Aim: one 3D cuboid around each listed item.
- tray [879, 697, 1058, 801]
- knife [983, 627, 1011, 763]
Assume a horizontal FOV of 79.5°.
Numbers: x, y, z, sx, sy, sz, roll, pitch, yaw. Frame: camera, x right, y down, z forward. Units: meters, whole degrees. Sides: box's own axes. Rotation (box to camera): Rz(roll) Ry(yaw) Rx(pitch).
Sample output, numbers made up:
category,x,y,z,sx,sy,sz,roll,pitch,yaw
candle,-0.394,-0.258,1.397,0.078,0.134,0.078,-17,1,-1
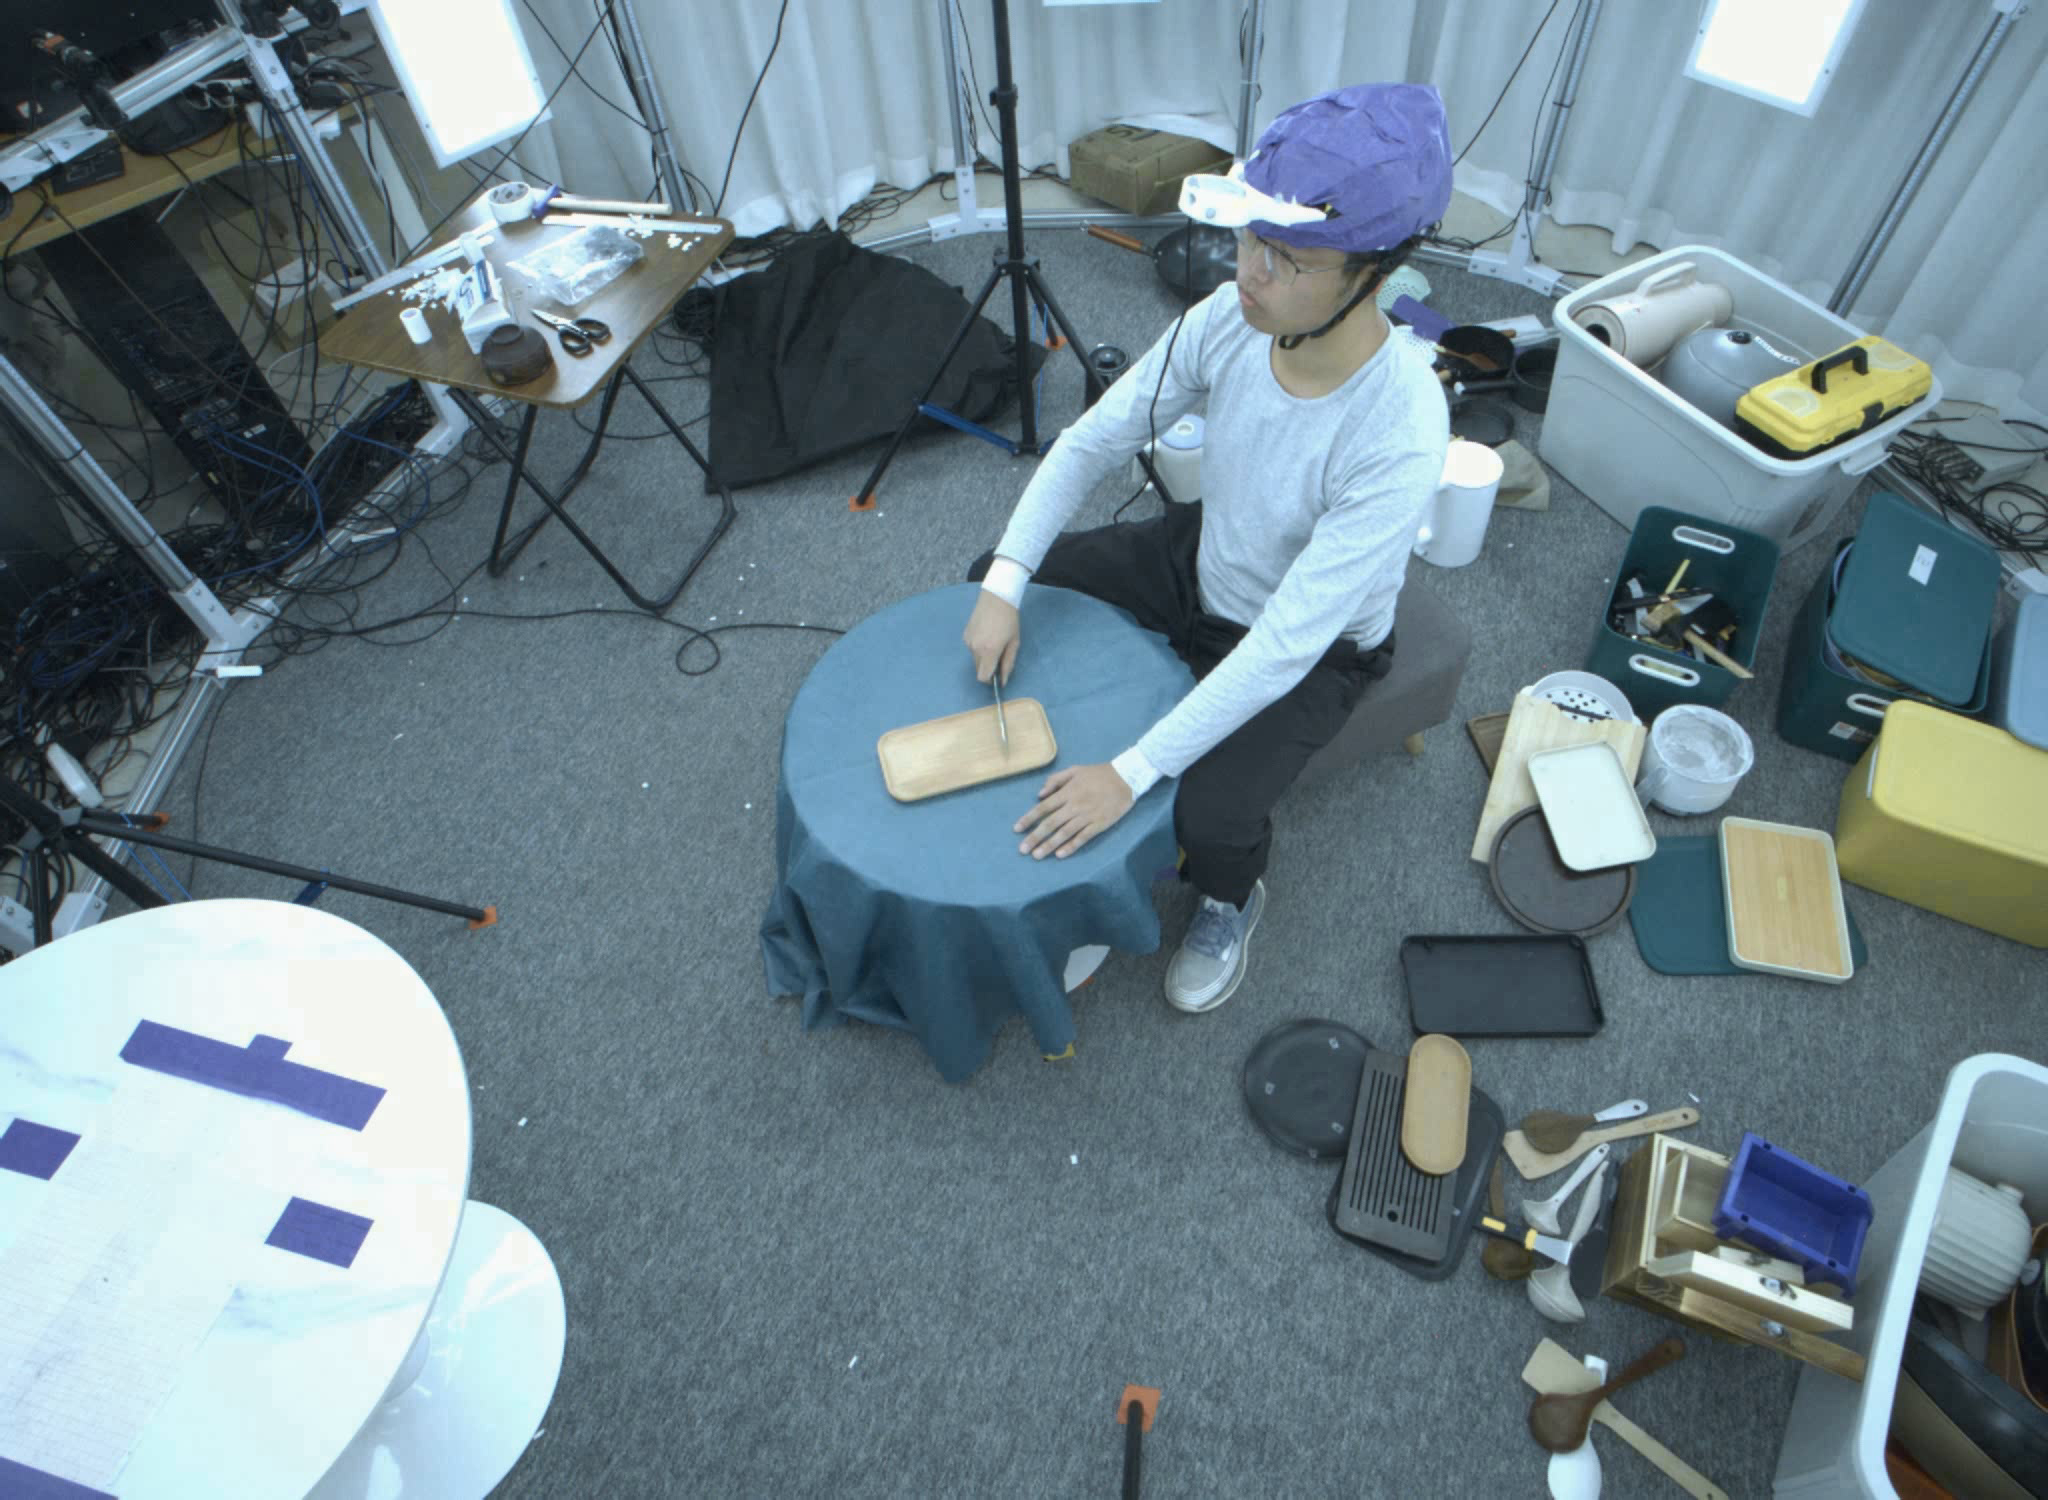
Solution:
category,x,y,z,sx,sy,sz,roll,pitch,yaw
tray,-0.082,-0.002,1.788,0.252,0.023,0.128,-13,58,-9
knife,-0.039,-0.086,1.823,0.016,0.025,0.235,-16,63,11
